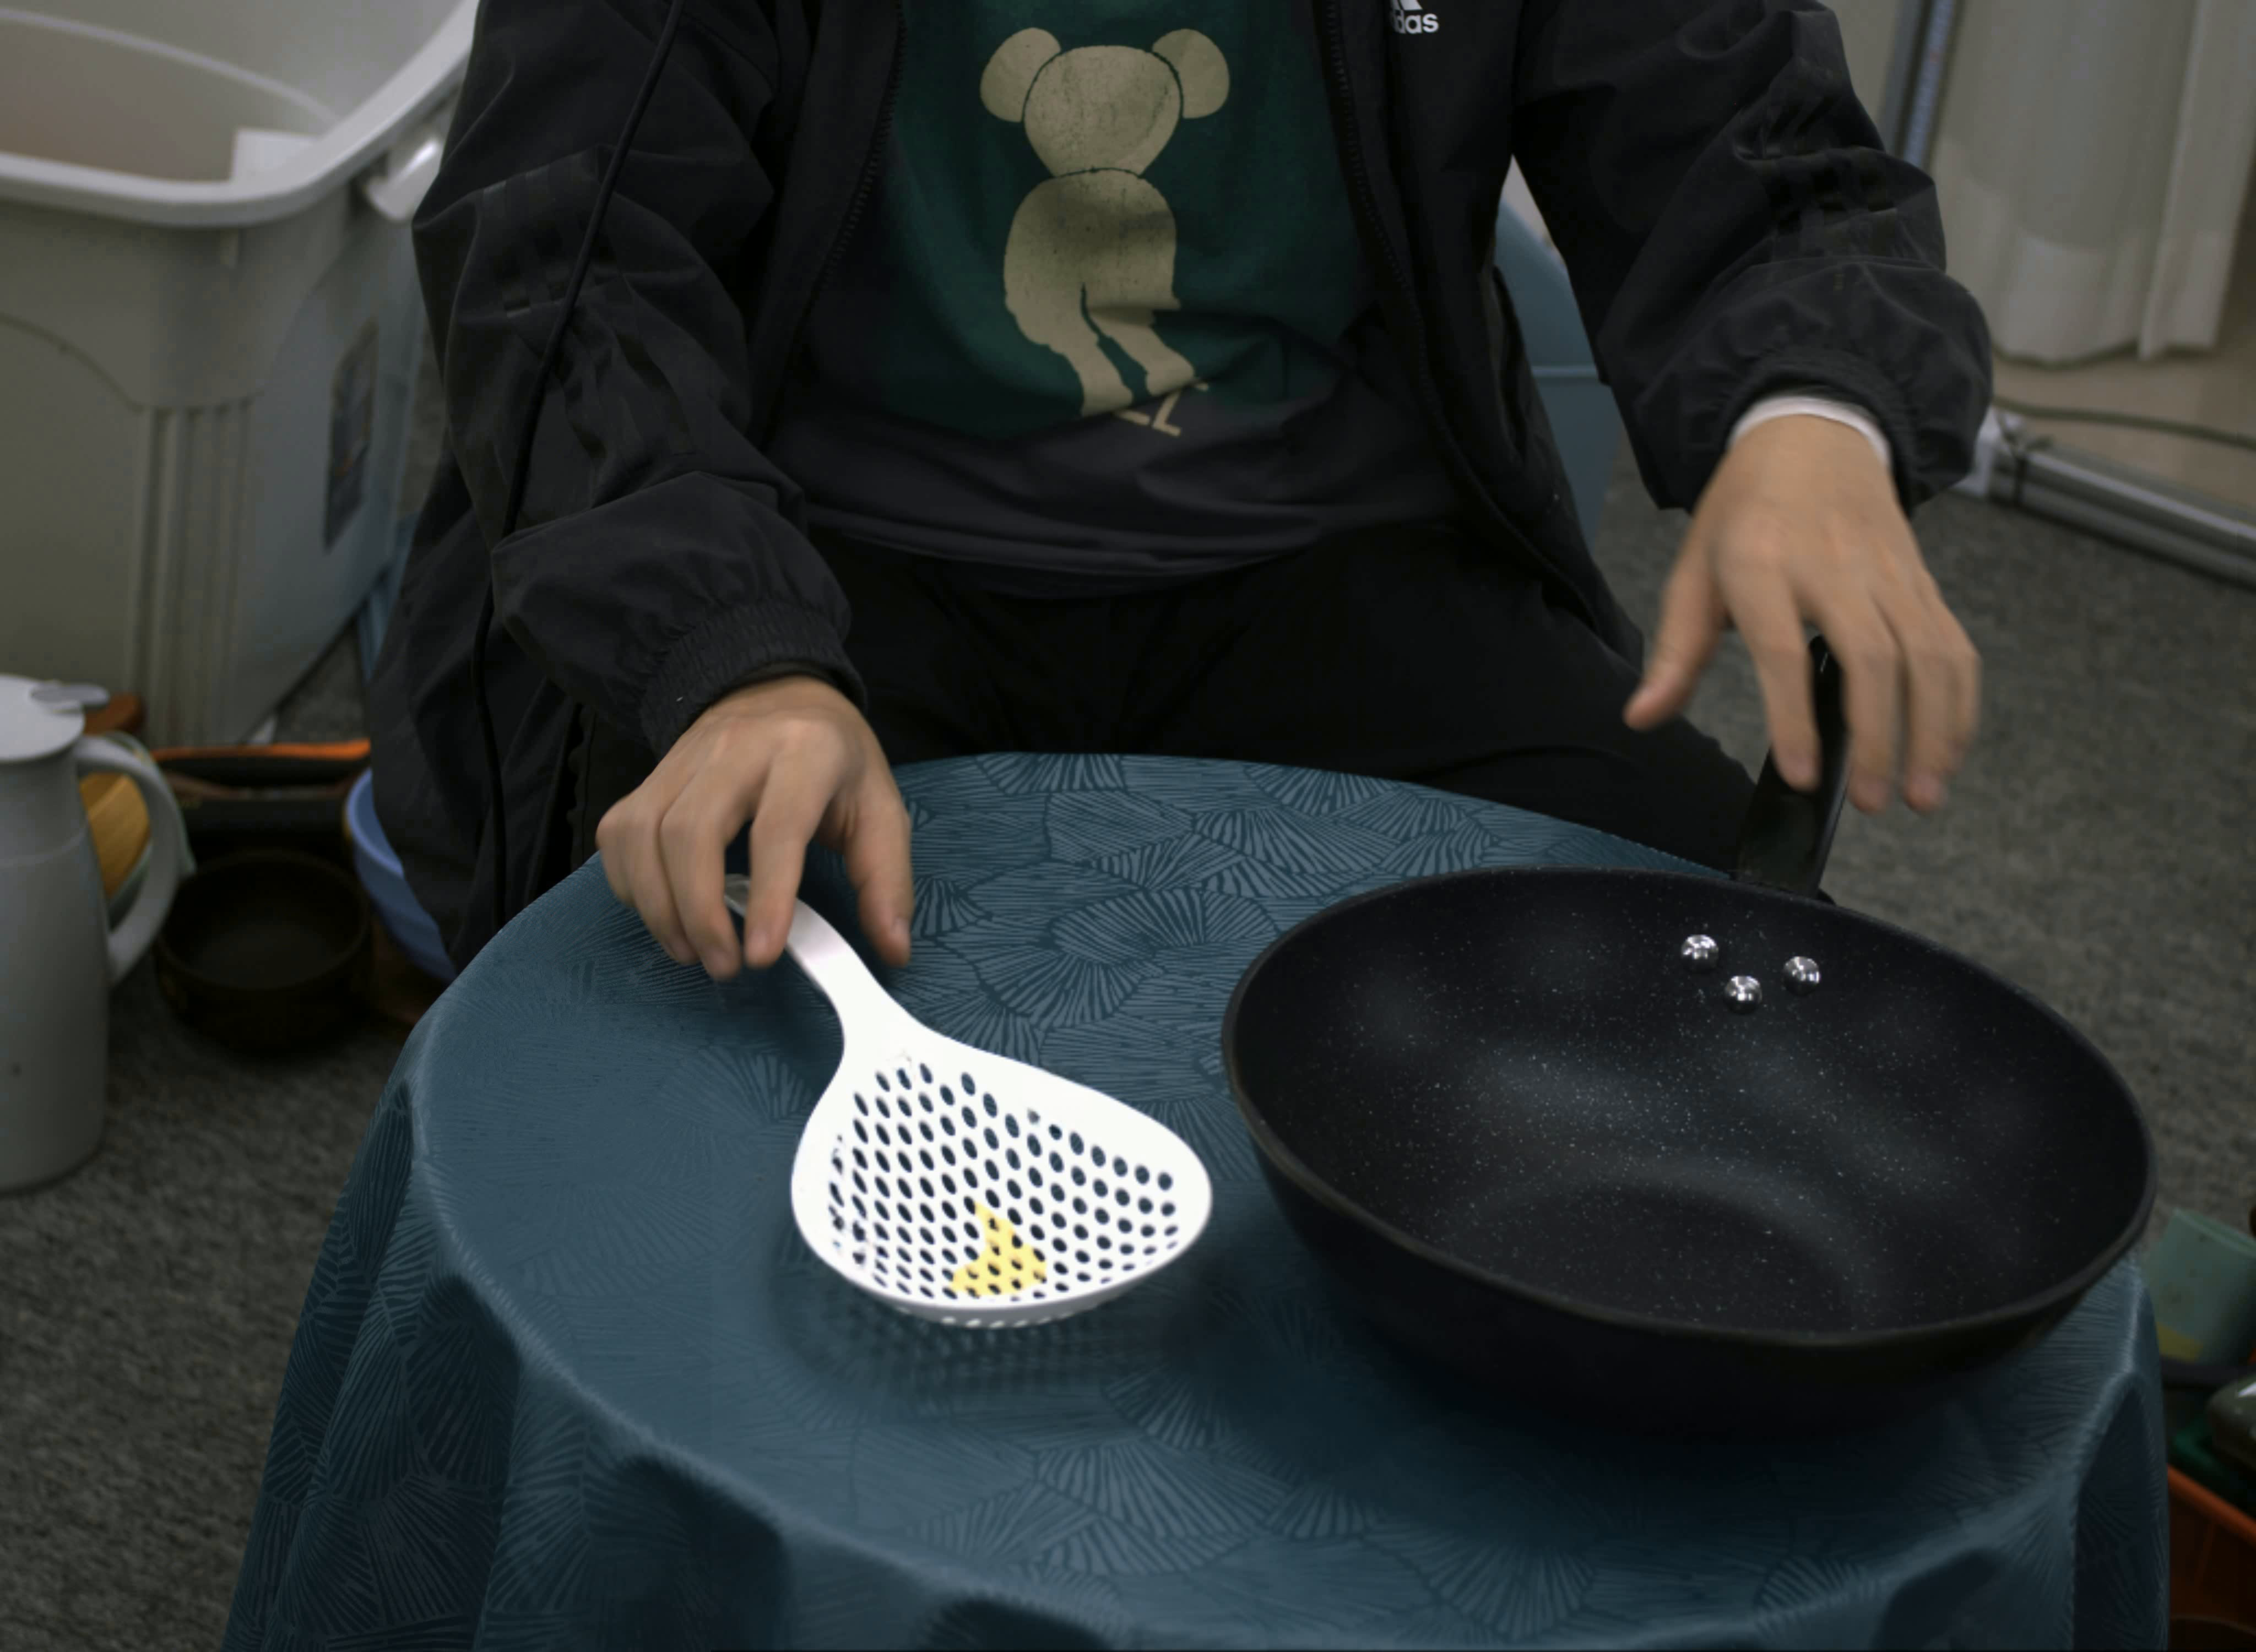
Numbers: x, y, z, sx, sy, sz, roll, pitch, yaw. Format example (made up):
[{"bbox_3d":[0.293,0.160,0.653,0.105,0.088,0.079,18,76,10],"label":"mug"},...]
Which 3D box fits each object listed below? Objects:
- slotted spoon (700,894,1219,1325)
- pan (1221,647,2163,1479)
[{"bbox_3d":[-0.080,0.084,1.819,0.136,0.050,0.351,-12,31,-18],"label":"slotted spoon"},{"bbox_3d":[0.202,0.081,1.818,0.310,0.111,0.478,14,28,11],"label":"pan"}]
